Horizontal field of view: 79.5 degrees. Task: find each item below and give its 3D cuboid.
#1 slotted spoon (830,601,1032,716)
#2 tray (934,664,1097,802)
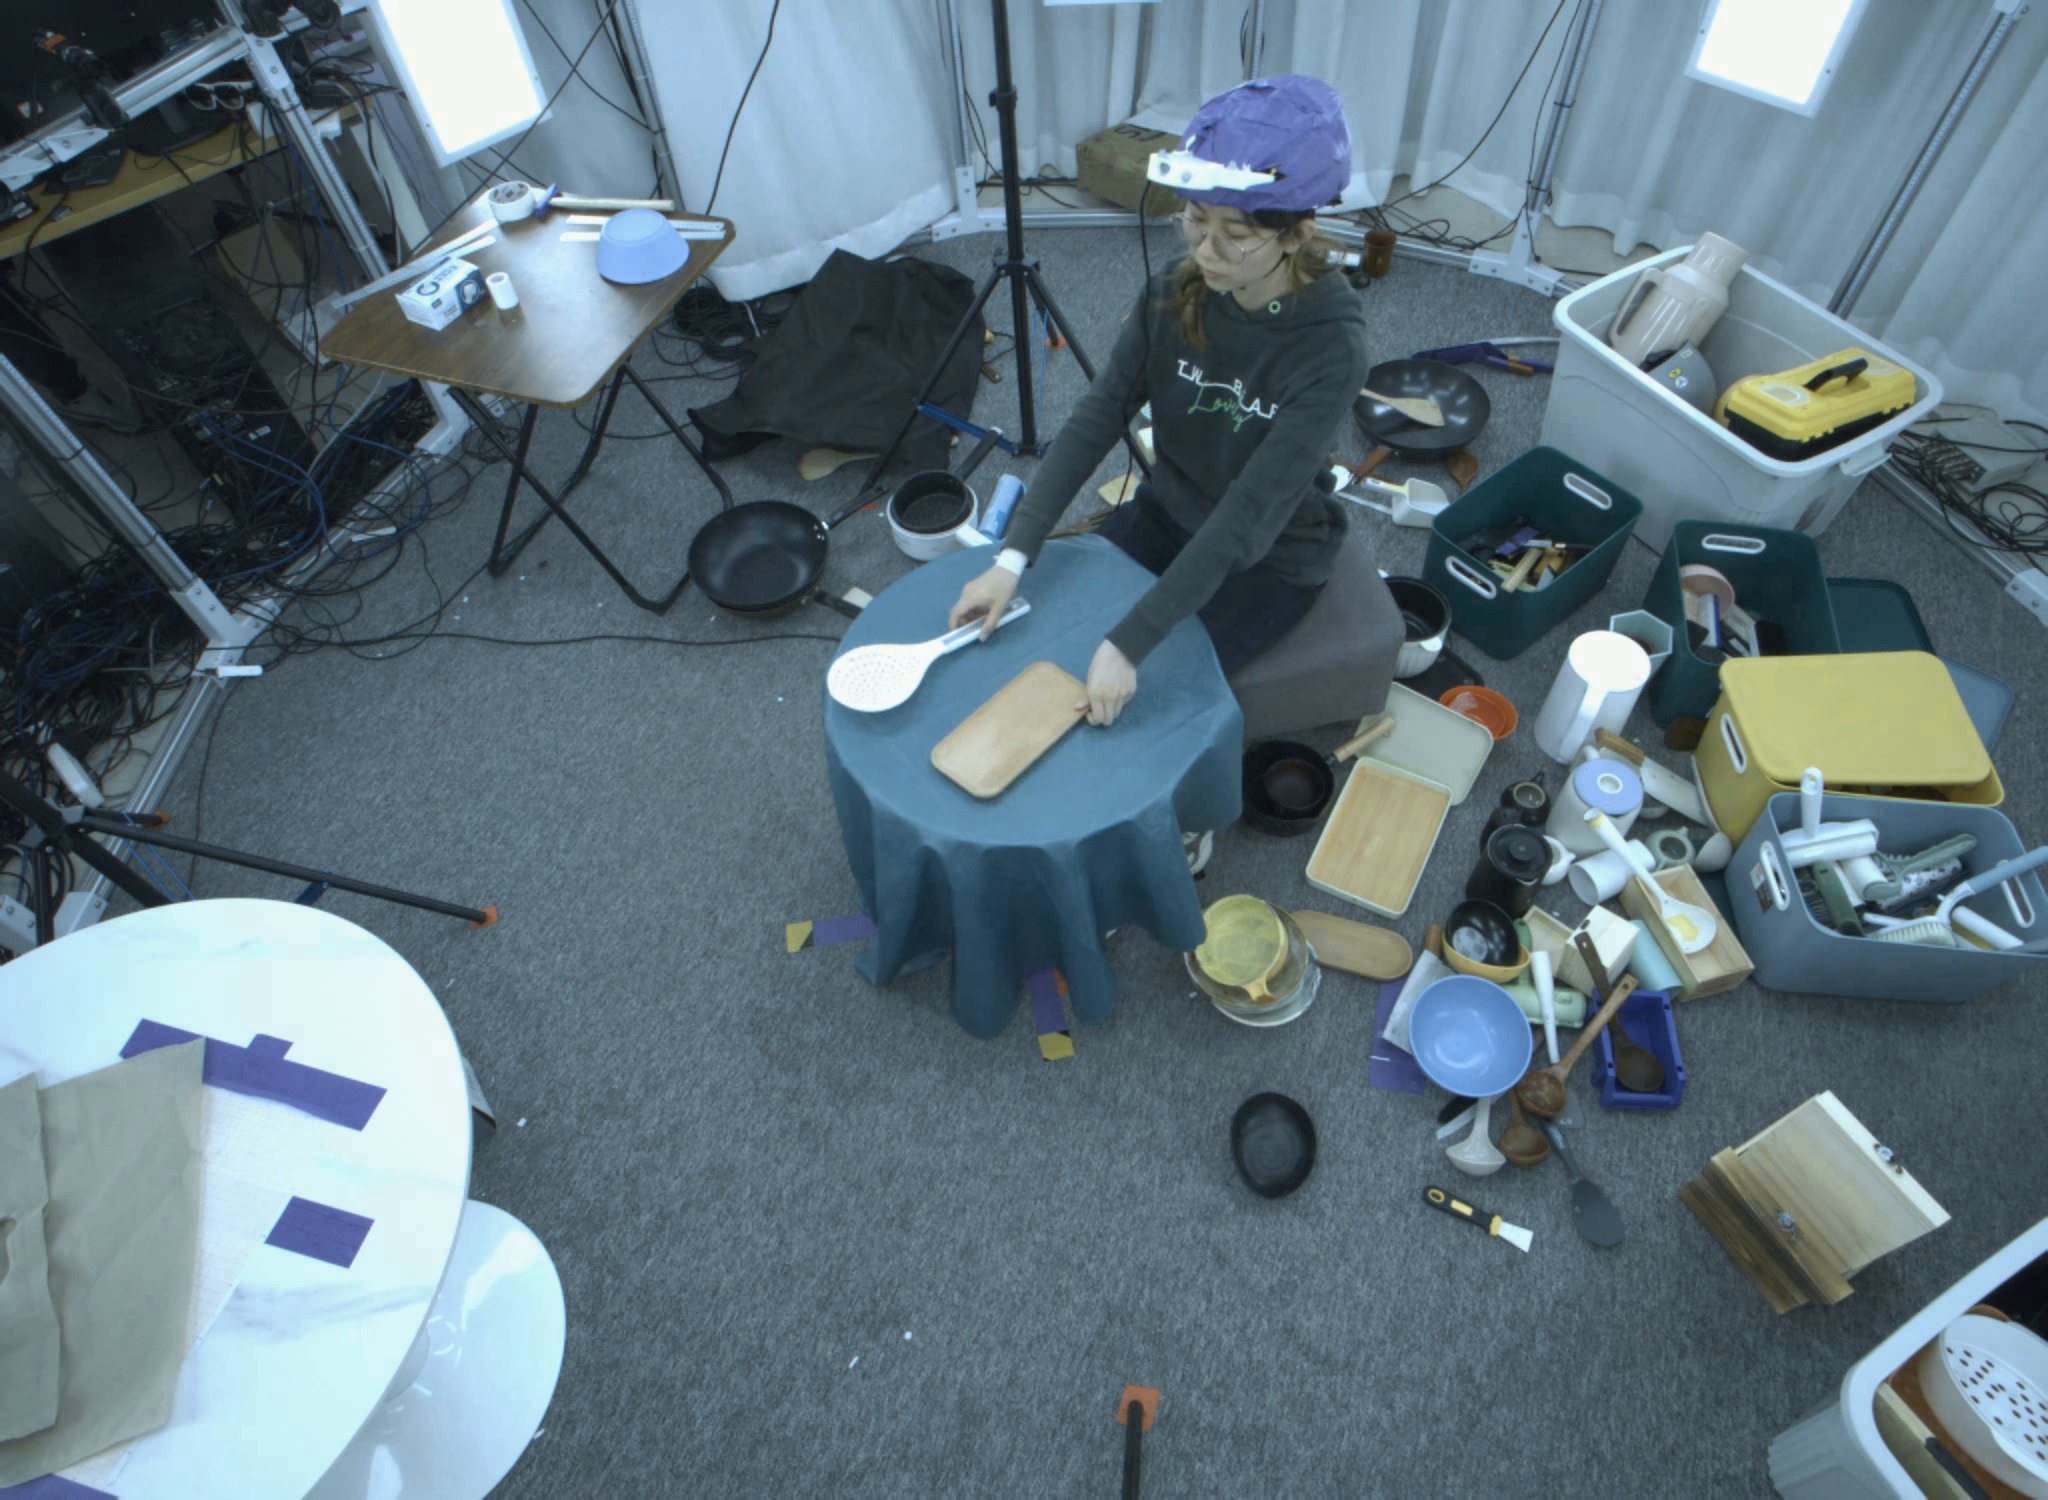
[{"bbox_3d":[-0.136,-0.149,1.879,0.352,0.046,0.133,-32,60,-20],"label":"slotted spoon"},{"bbox_3d":[-0.011,-0.027,1.806,0.128,0.023,0.252,37,63,24],"label":"tray"}]
